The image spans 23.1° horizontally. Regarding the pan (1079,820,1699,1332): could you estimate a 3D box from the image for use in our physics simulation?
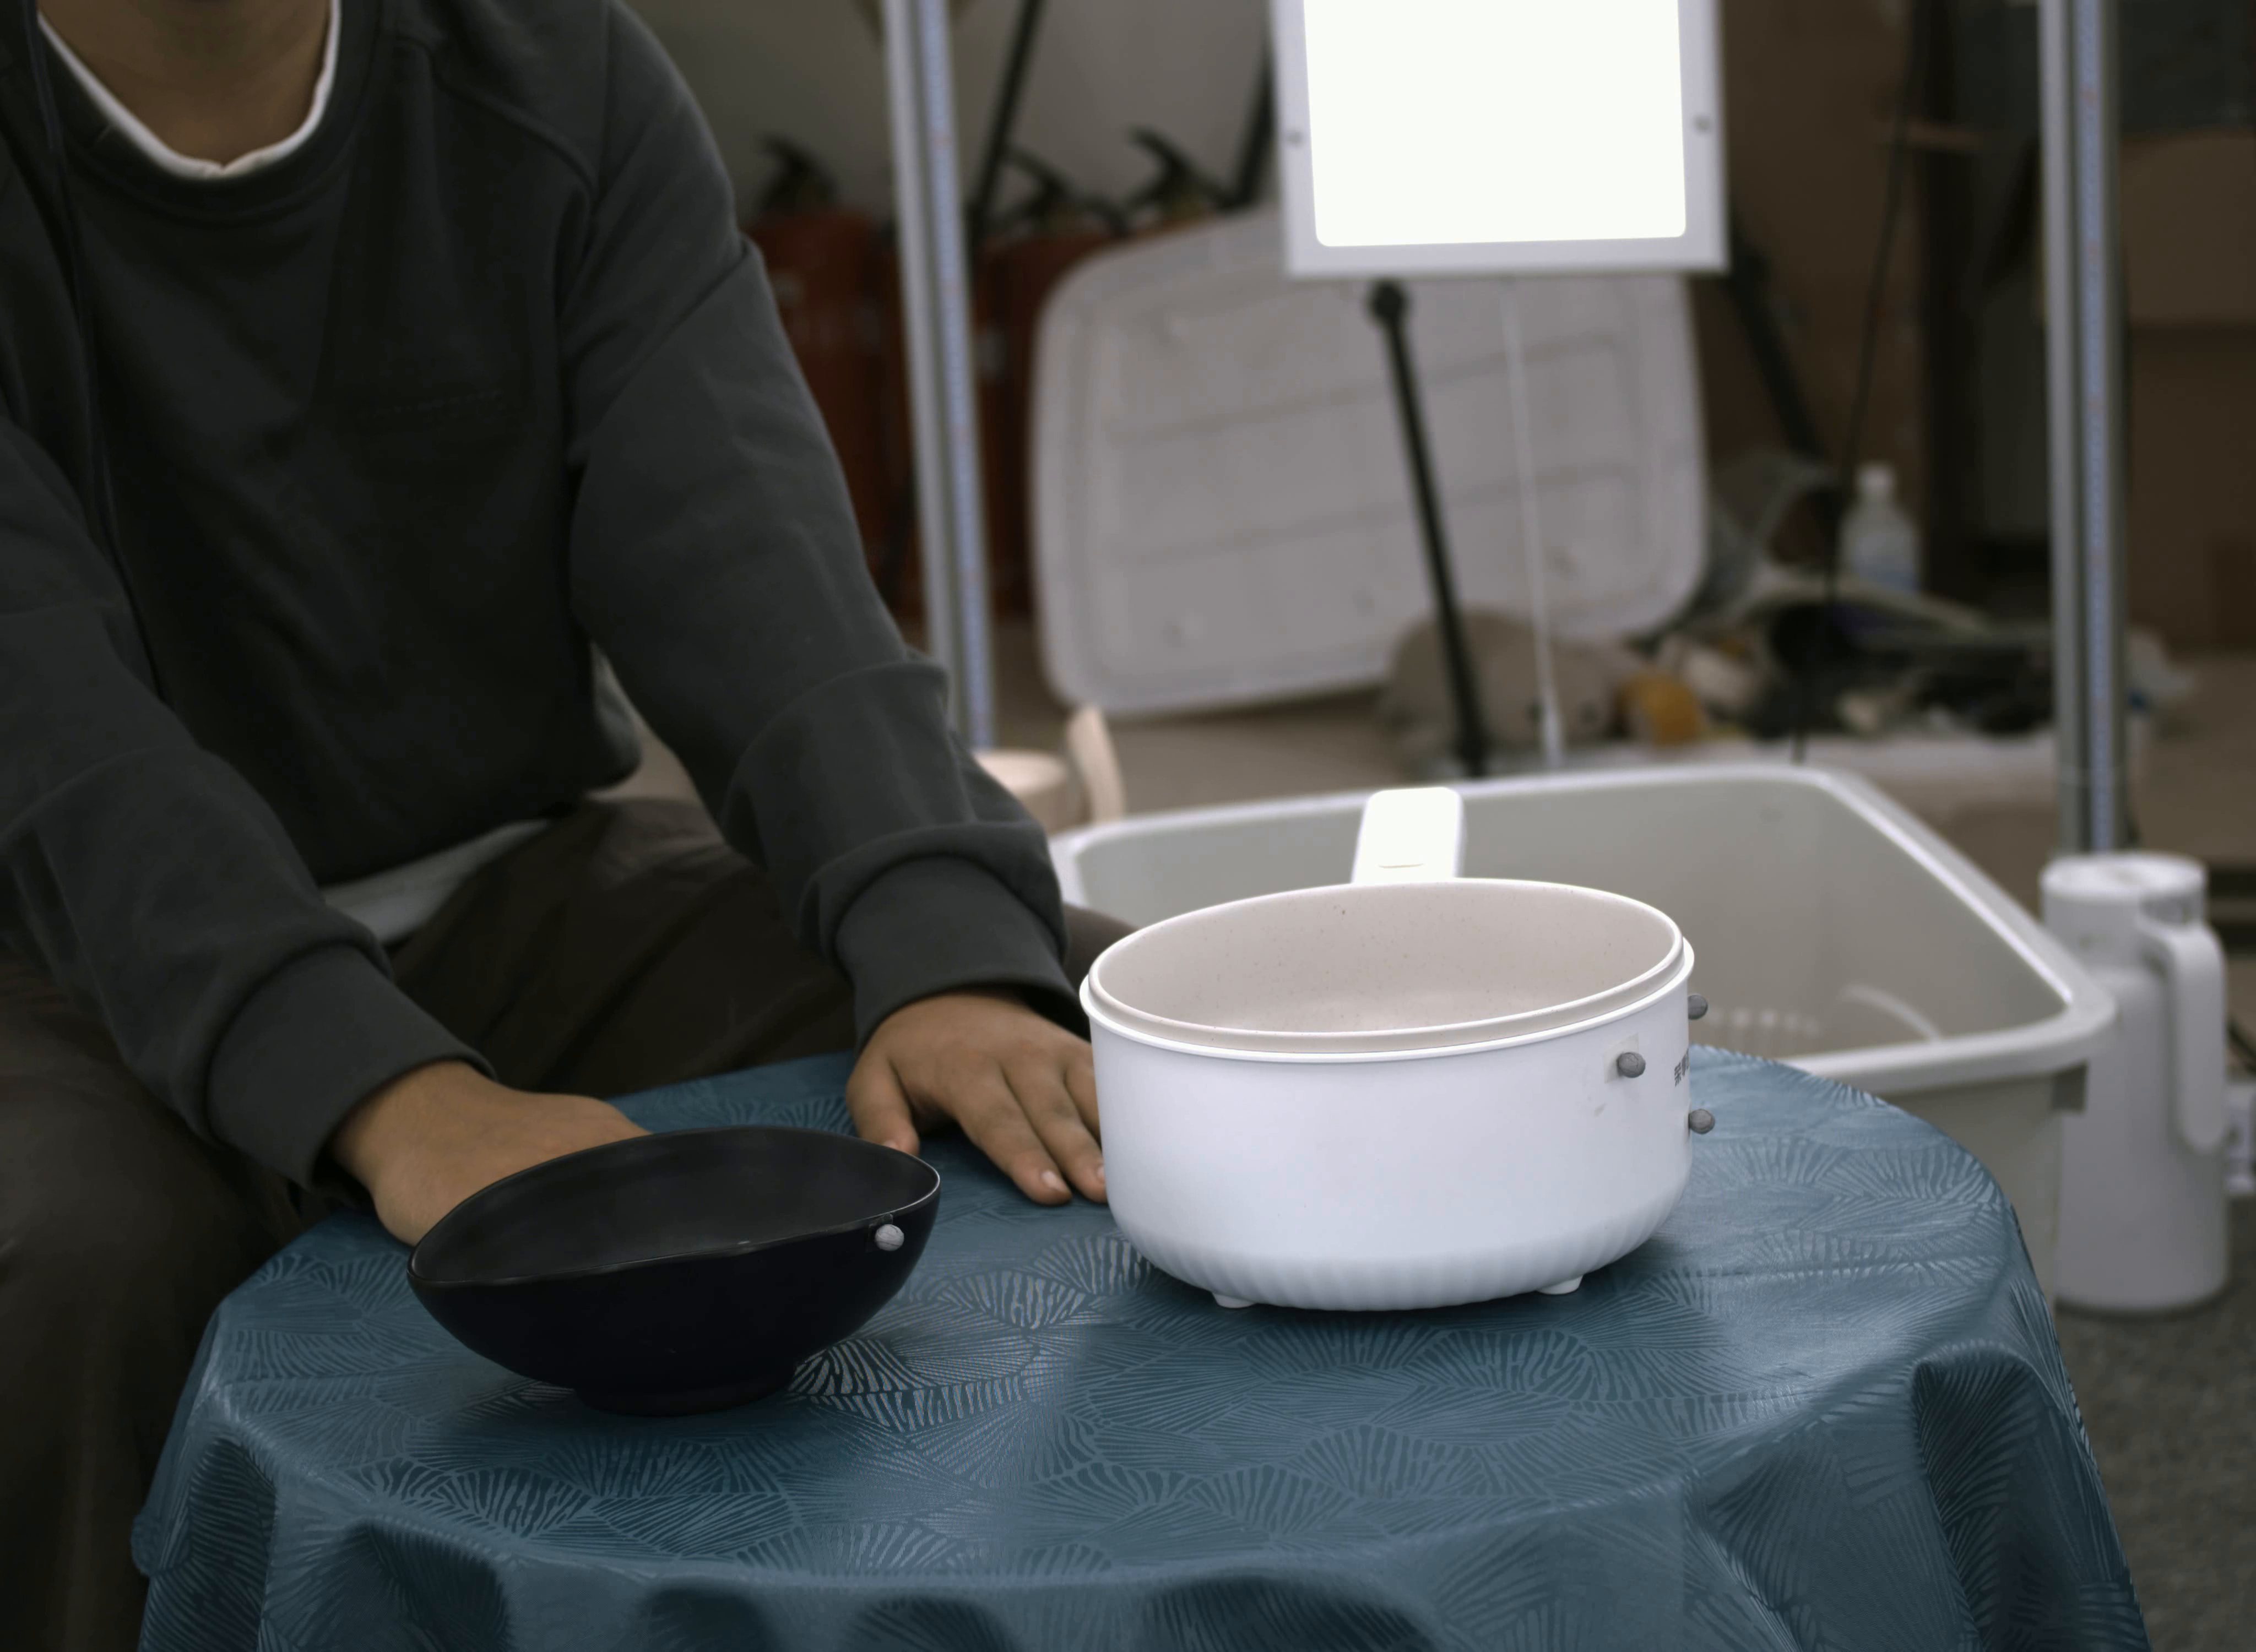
[{"bbox_3d":[0.095,0.081,1.878,0.202,0.102,0.352,-7,11,7],"label":"pan"}]

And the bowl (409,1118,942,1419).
[{"bbox_3d":[-0.139,0.145,1.734,0.168,0.067,0.138,-9,14,-11],"label":"bowl"}]
